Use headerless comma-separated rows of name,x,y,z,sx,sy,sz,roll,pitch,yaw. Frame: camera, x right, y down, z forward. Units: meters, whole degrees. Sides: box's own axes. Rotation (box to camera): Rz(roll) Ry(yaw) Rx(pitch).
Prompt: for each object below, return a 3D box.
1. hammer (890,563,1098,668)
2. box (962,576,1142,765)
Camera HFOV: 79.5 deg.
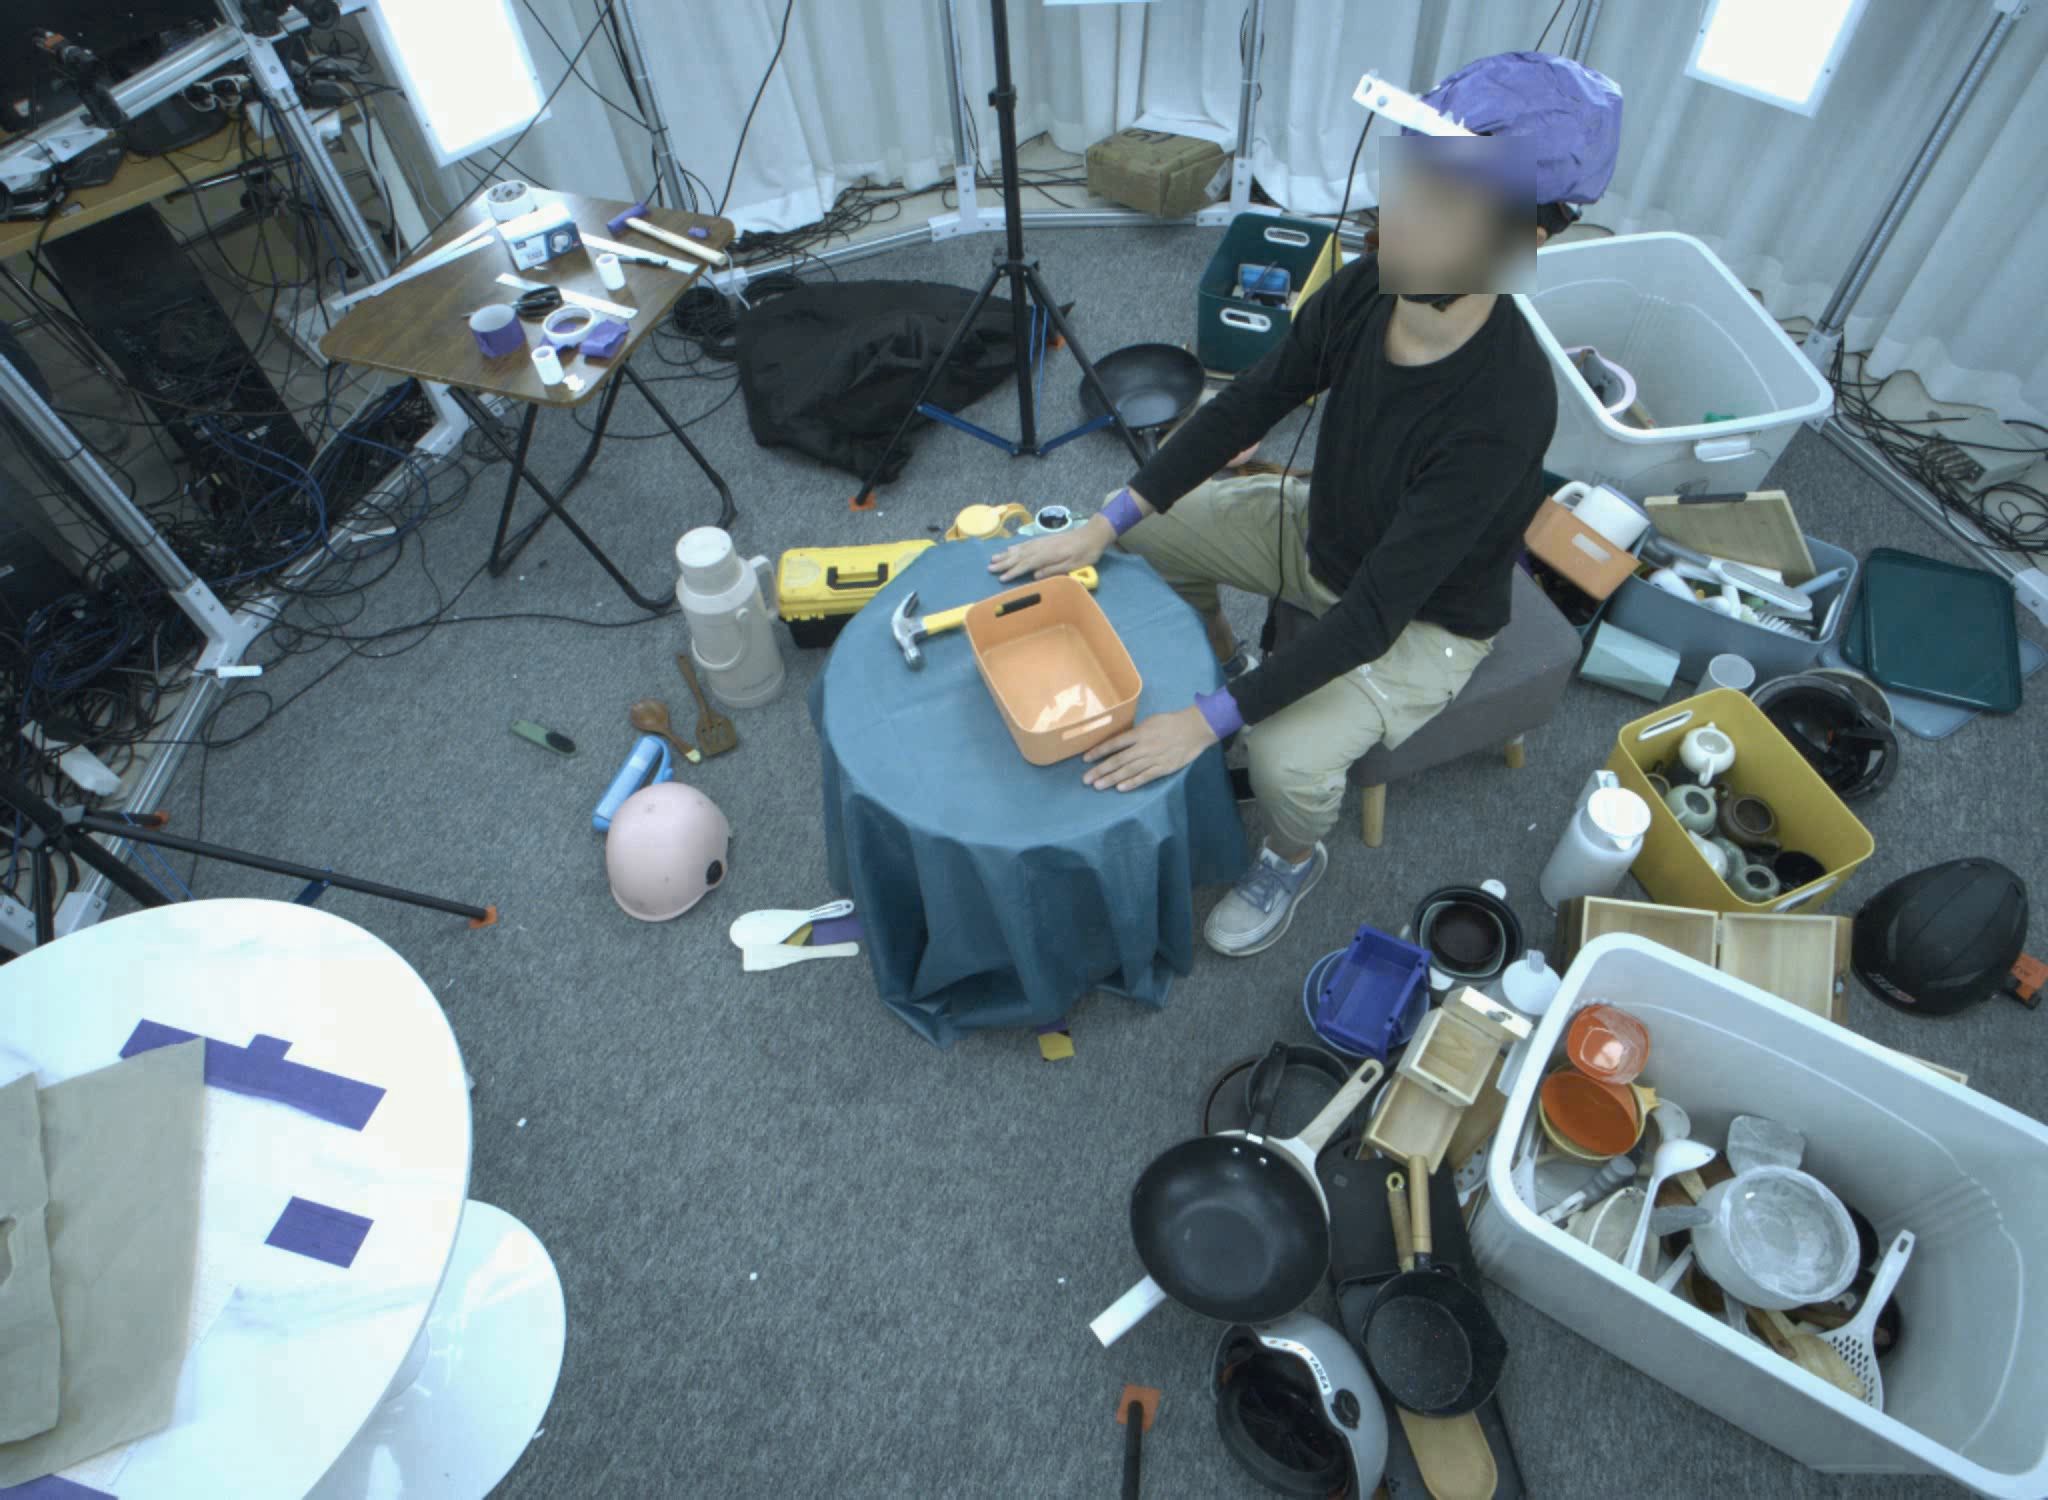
hammer,-0.045,-0.231,1.927,0.340,0.032,0.129,-18,56,-10
box,0.040,-0.115,1.800,0.201,0.103,0.268,-20,57,-13
